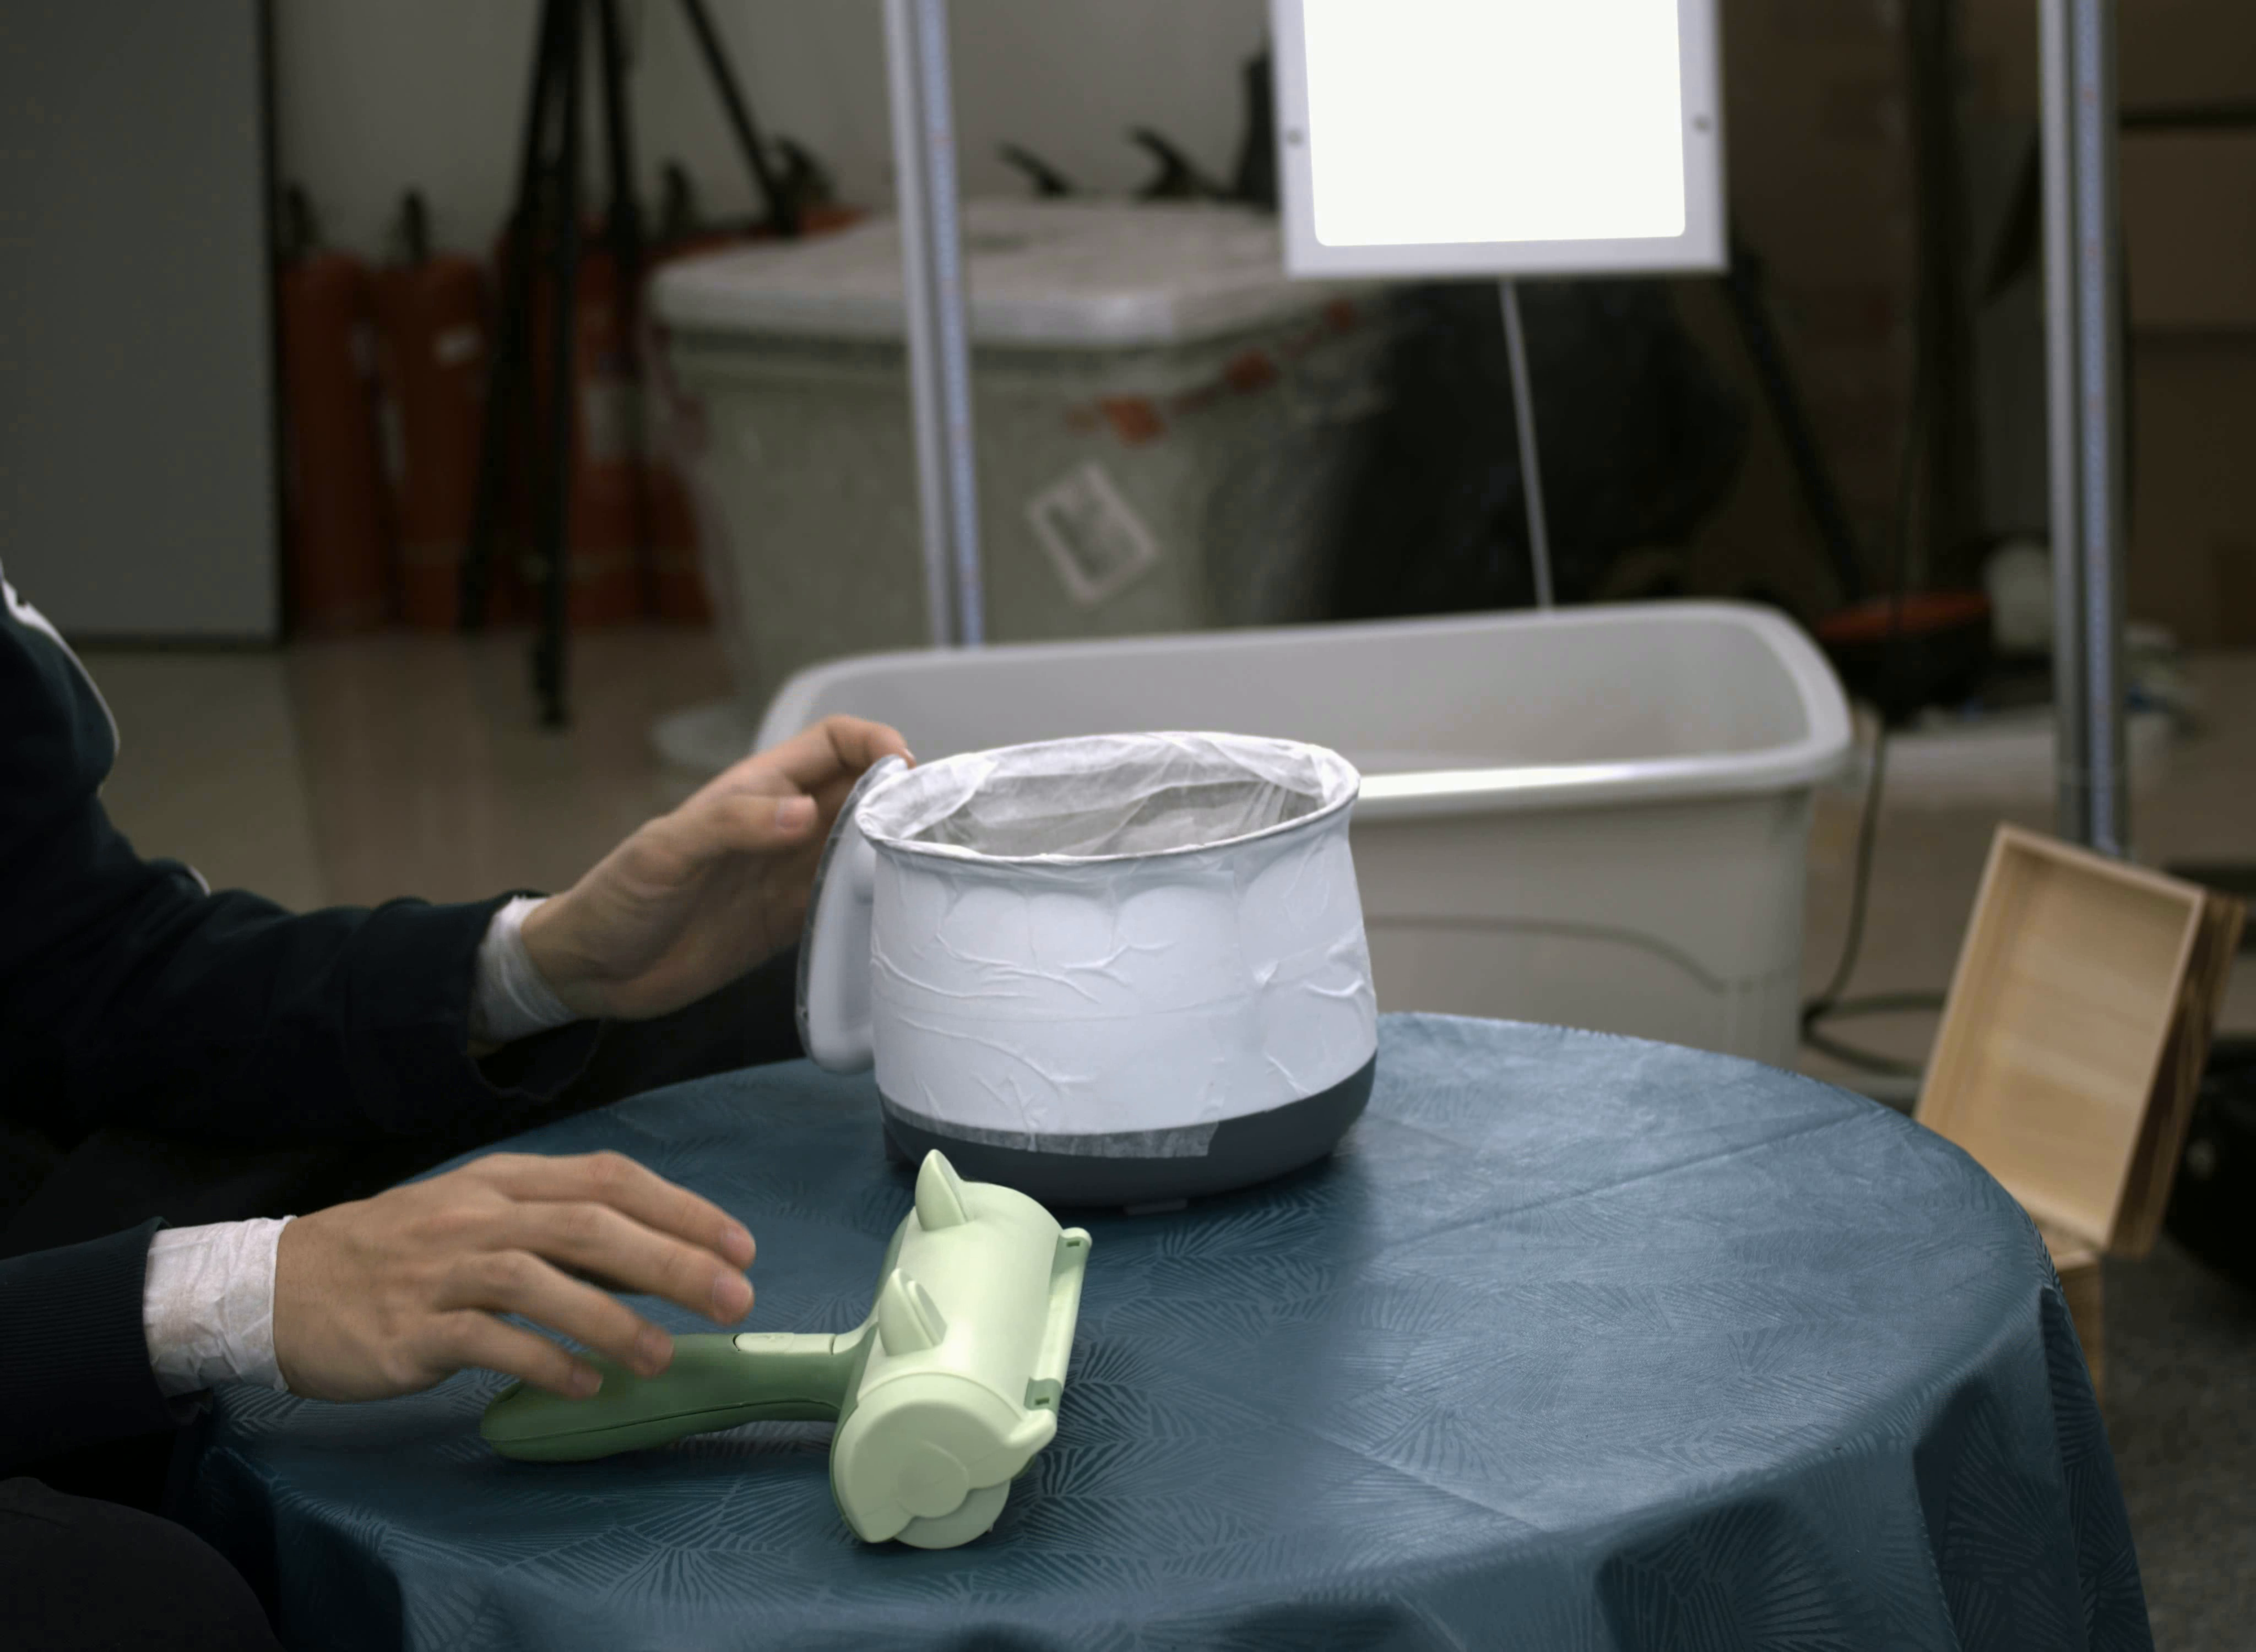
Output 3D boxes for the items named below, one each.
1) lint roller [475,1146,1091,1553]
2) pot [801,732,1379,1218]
[{"bbox_3d":[-0.108,0.153,1.670,0.183,0.082,0.197,1,15,5],"label":"lint roller"},{"bbox_3d":[-0.024,0.047,1.936,0.238,0.137,0.174,7,18,38],"label":"pot"}]
